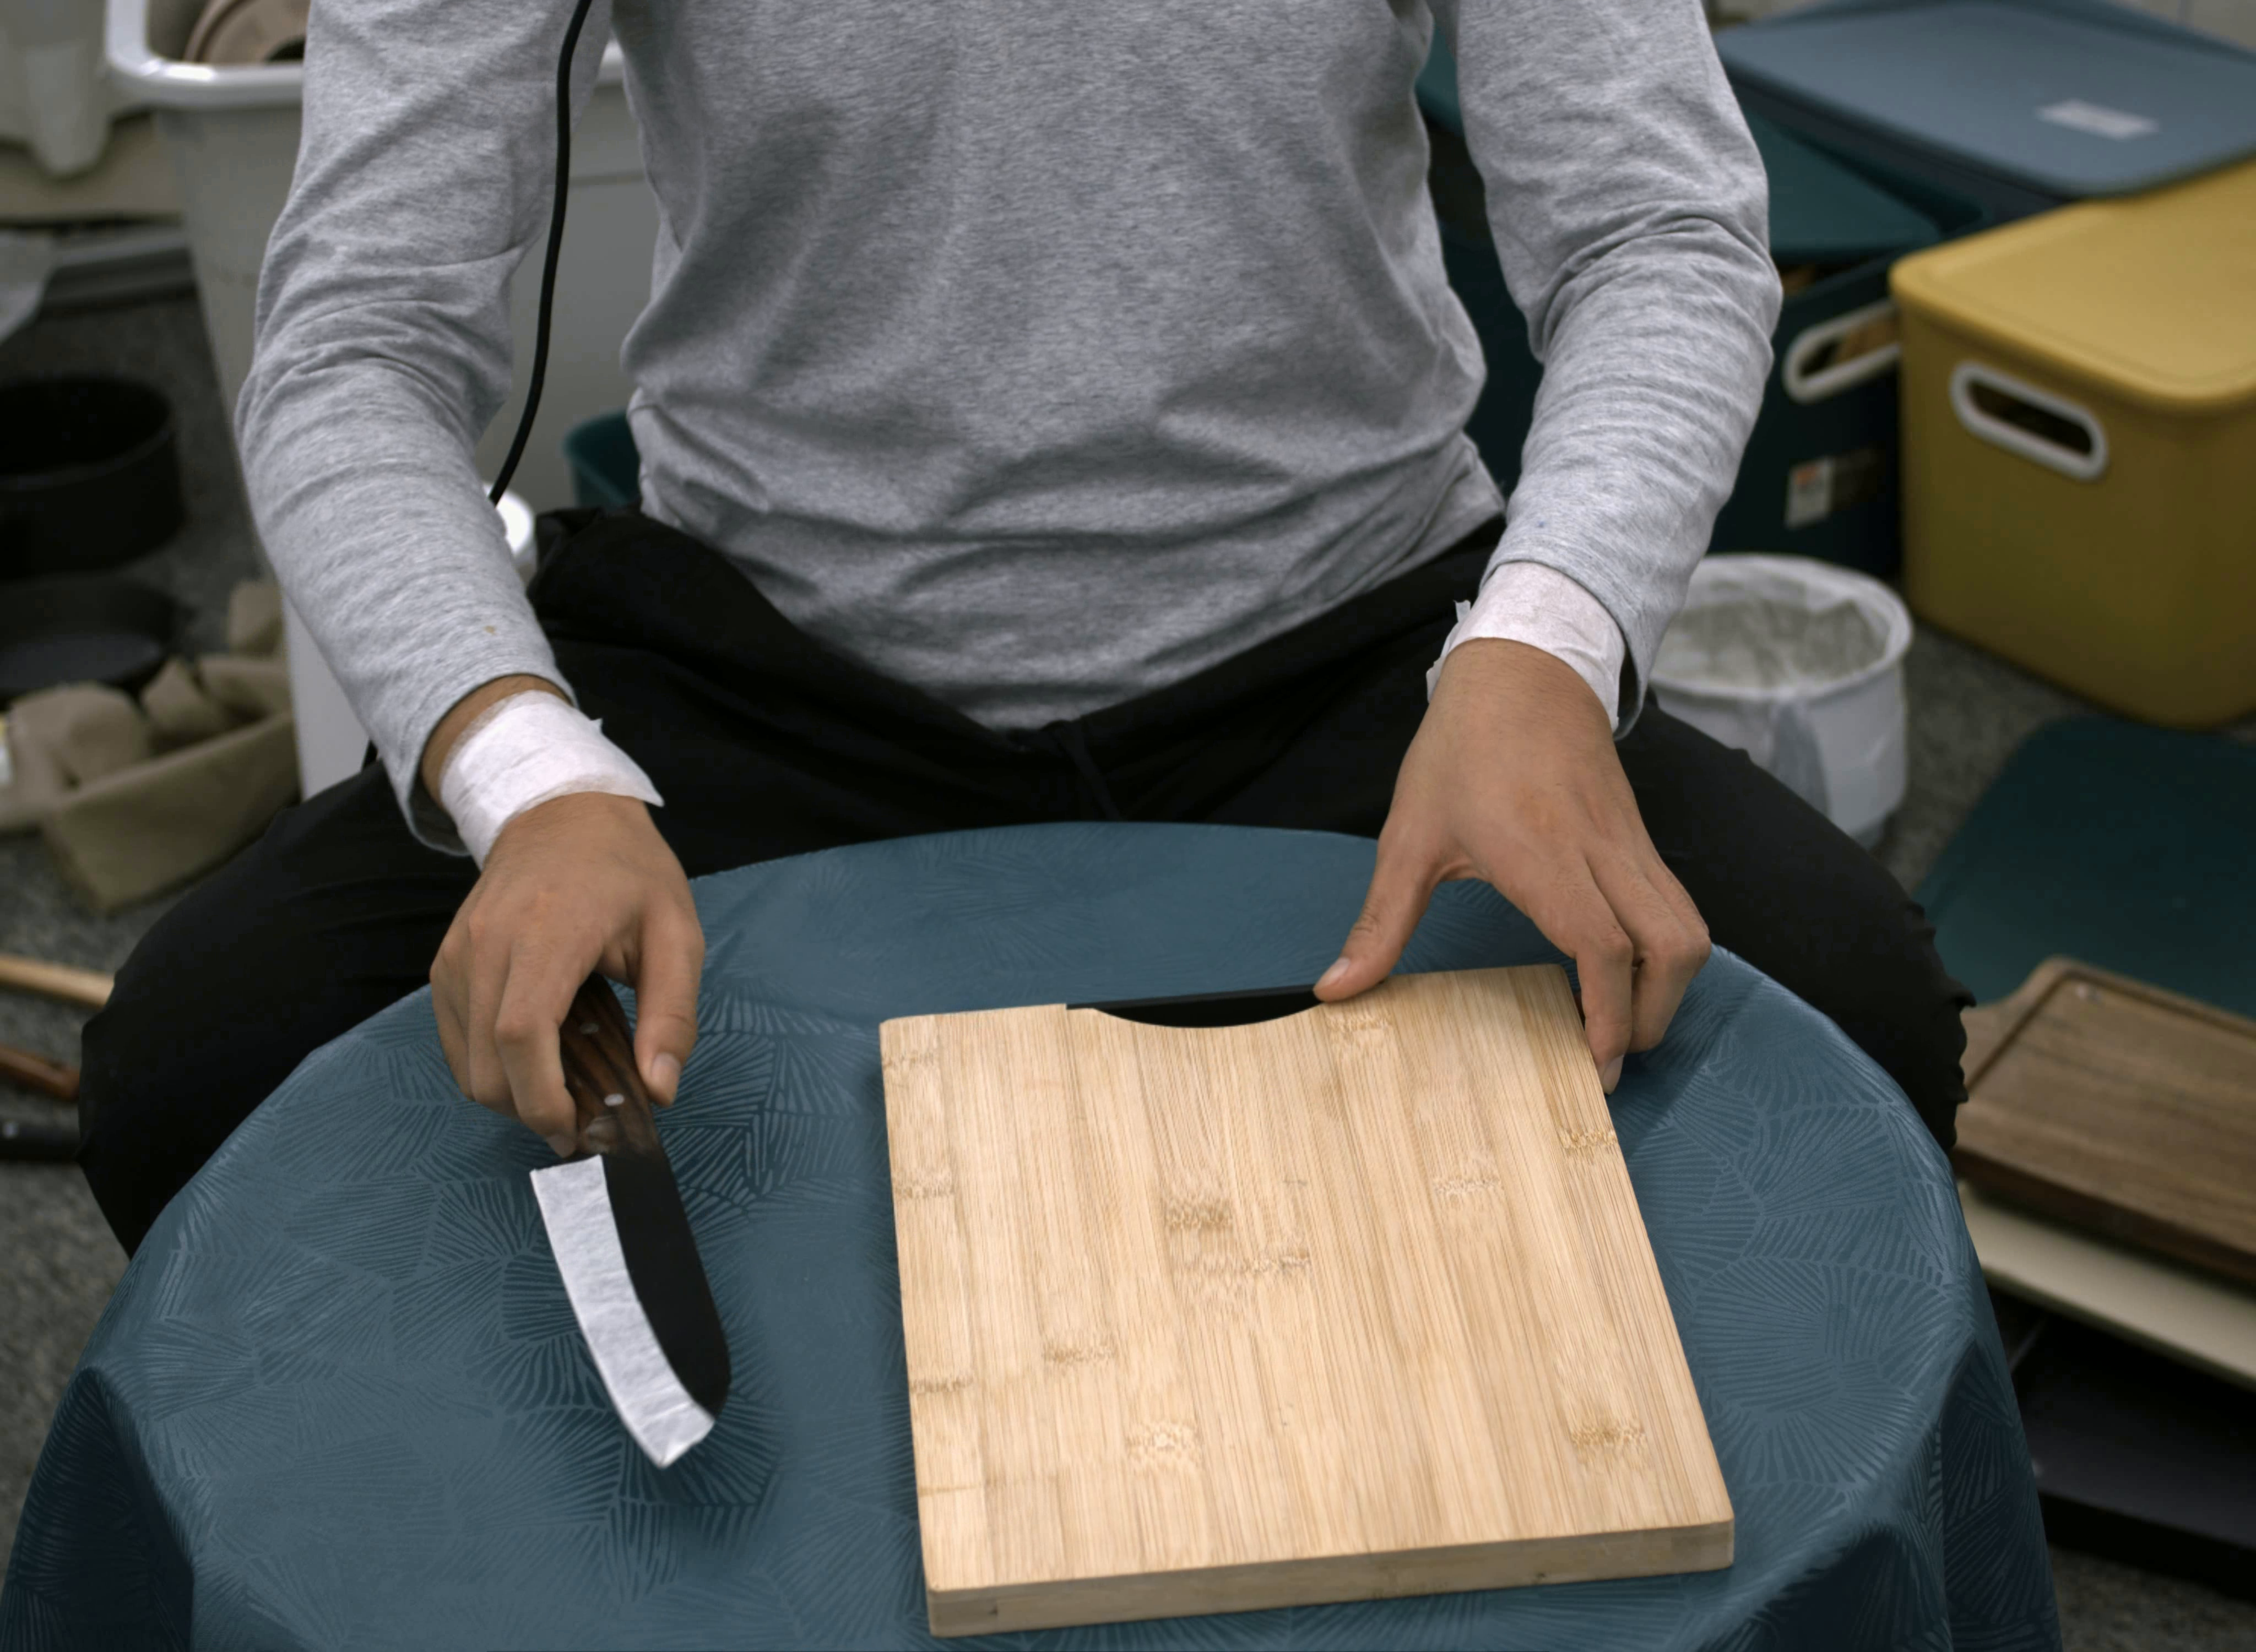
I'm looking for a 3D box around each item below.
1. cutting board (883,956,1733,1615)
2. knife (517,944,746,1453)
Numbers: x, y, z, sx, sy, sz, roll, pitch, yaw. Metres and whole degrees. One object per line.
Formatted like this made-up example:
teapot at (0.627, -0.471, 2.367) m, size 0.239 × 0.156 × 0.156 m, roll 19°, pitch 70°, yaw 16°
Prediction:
cutting board at (0.047, 0.141, 1.802) m, size 0.250 × 0.023 × 0.353 m, roll -4°, pitch 27°, yaw -4°
knife at (-0.164, 0.117, 1.793) m, size 0.050 × 0.020 × 0.292 m, roll -11°, pitch 31°, yaw -8°
